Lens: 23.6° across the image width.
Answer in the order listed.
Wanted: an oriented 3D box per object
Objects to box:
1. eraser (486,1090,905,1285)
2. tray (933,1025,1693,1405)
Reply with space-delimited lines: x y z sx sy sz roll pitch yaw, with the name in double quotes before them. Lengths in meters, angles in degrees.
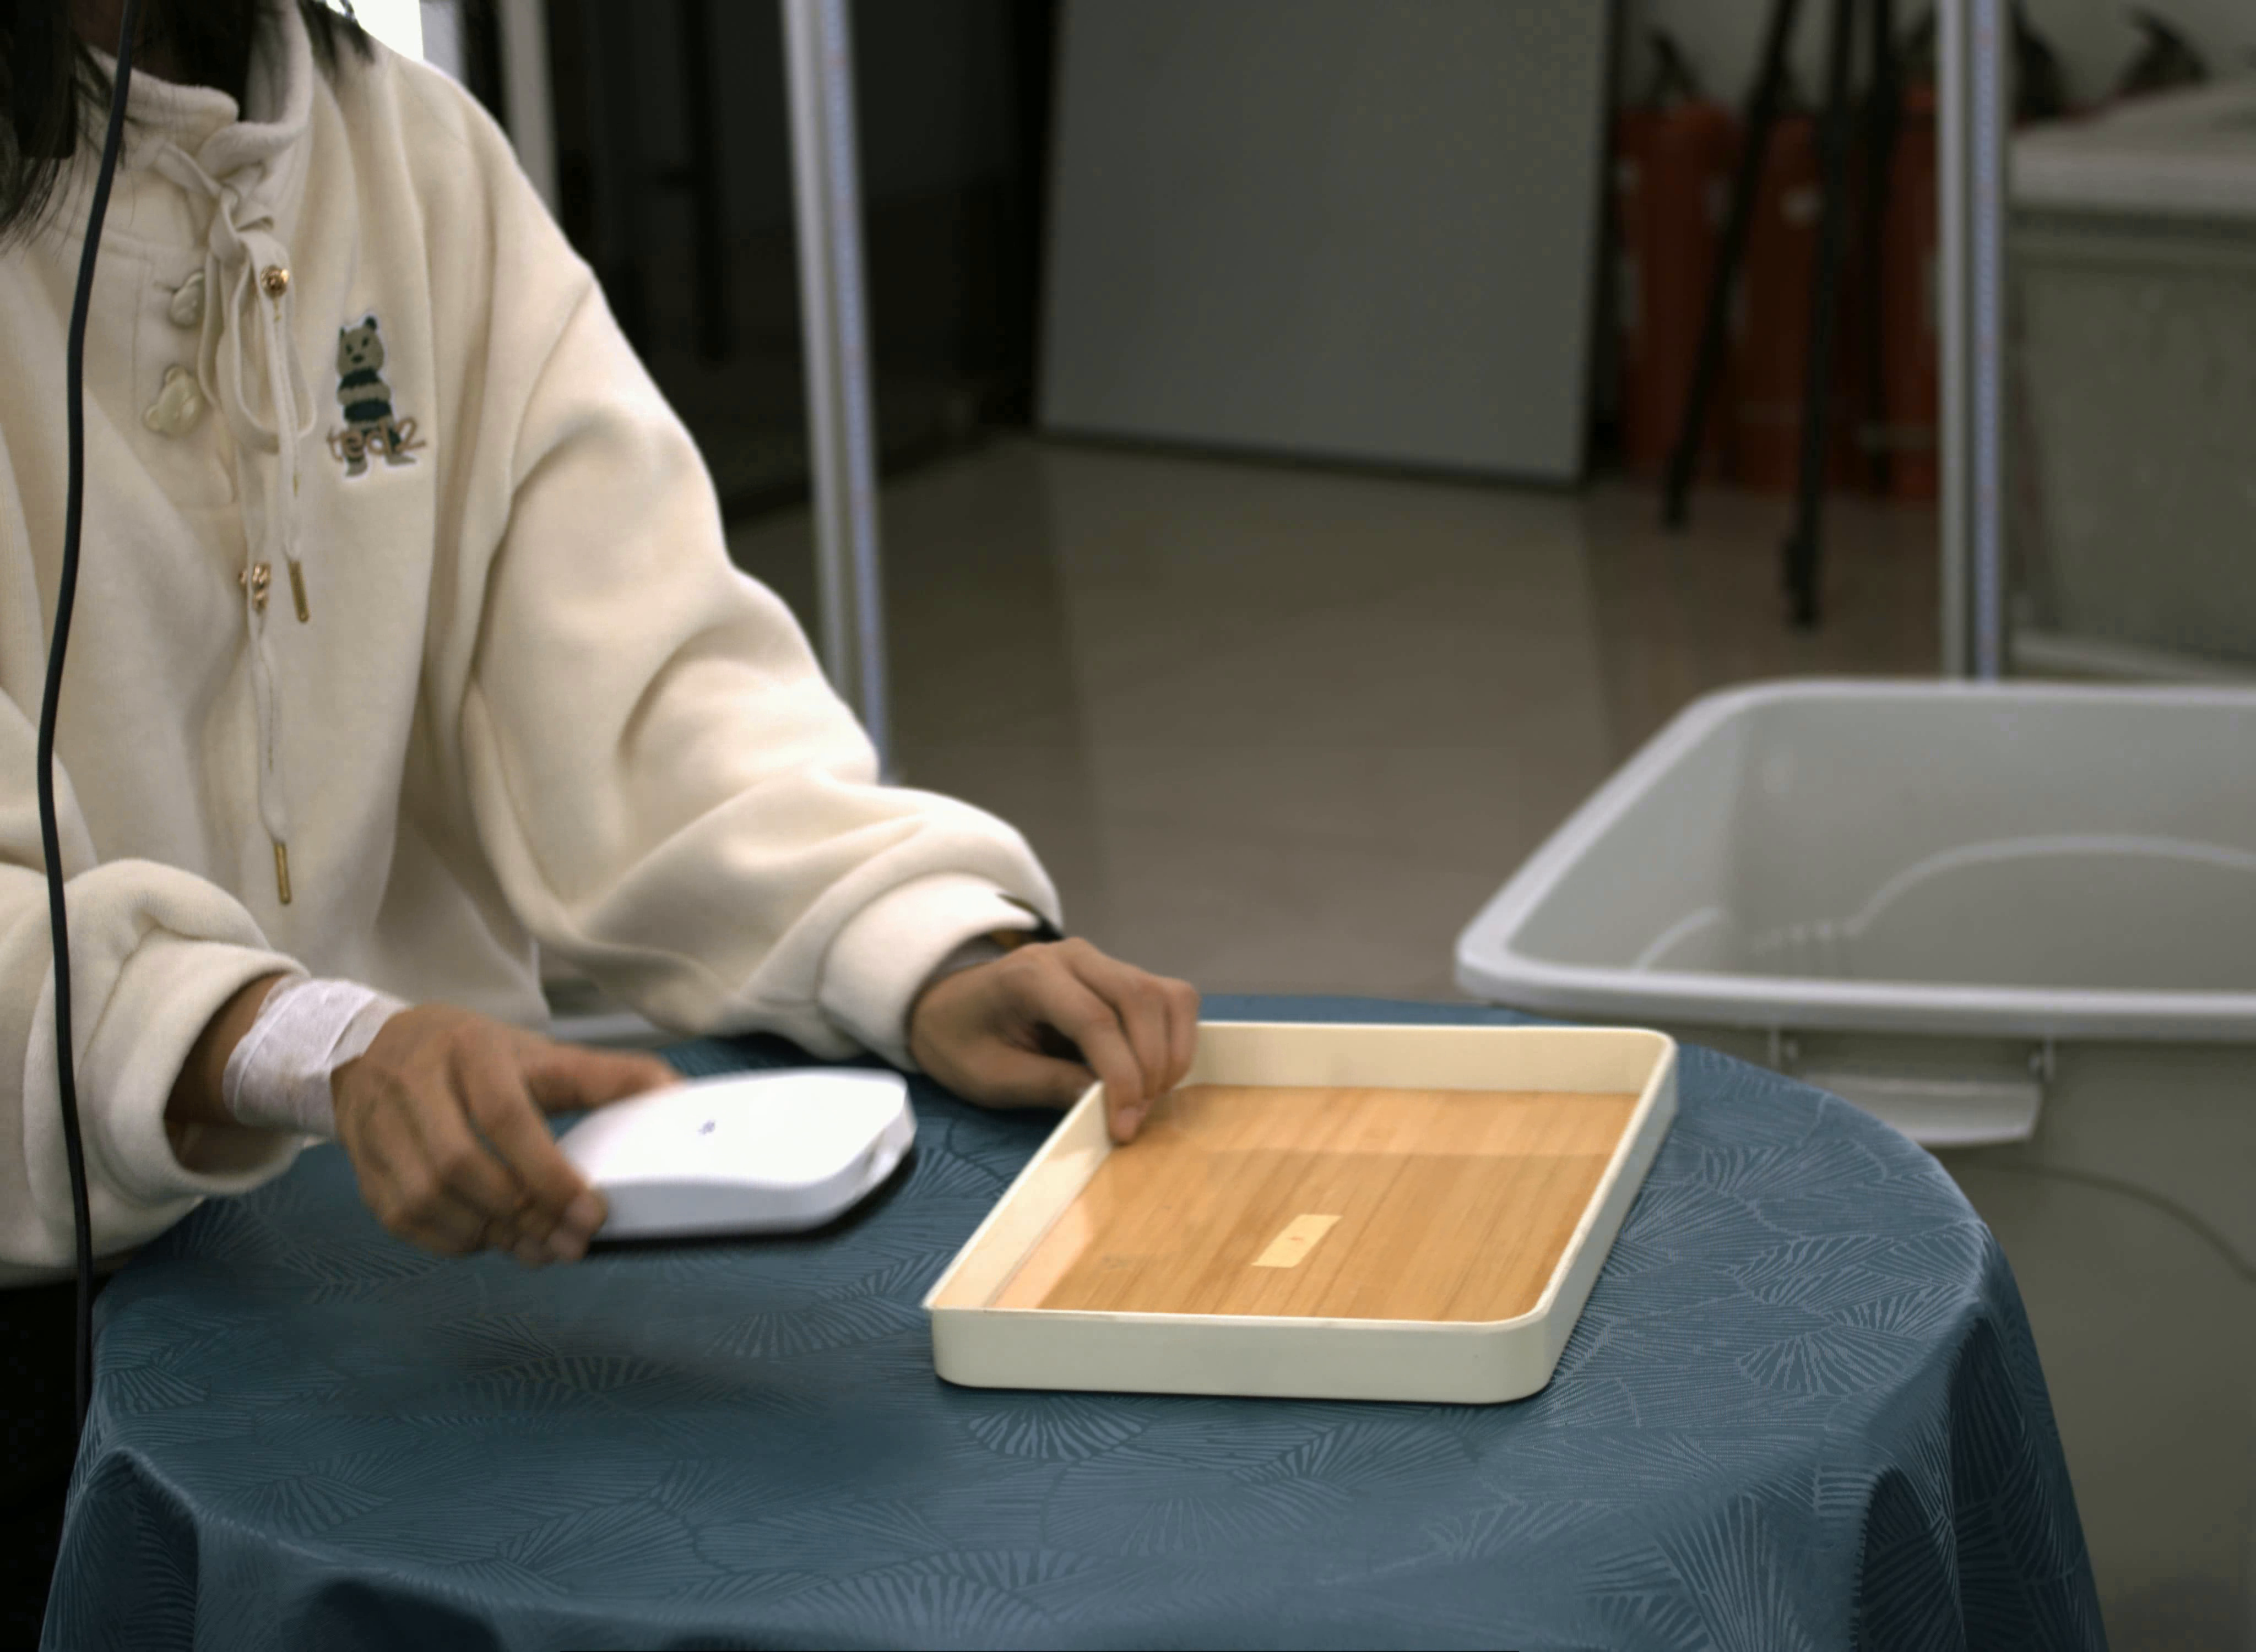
"eraser" -0.128 0.108 1.605 0.132 0.035 0.062 -3 24 38
"tray" 0.066 0.118 1.705 0.191 0.028 0.298 0 14 16
